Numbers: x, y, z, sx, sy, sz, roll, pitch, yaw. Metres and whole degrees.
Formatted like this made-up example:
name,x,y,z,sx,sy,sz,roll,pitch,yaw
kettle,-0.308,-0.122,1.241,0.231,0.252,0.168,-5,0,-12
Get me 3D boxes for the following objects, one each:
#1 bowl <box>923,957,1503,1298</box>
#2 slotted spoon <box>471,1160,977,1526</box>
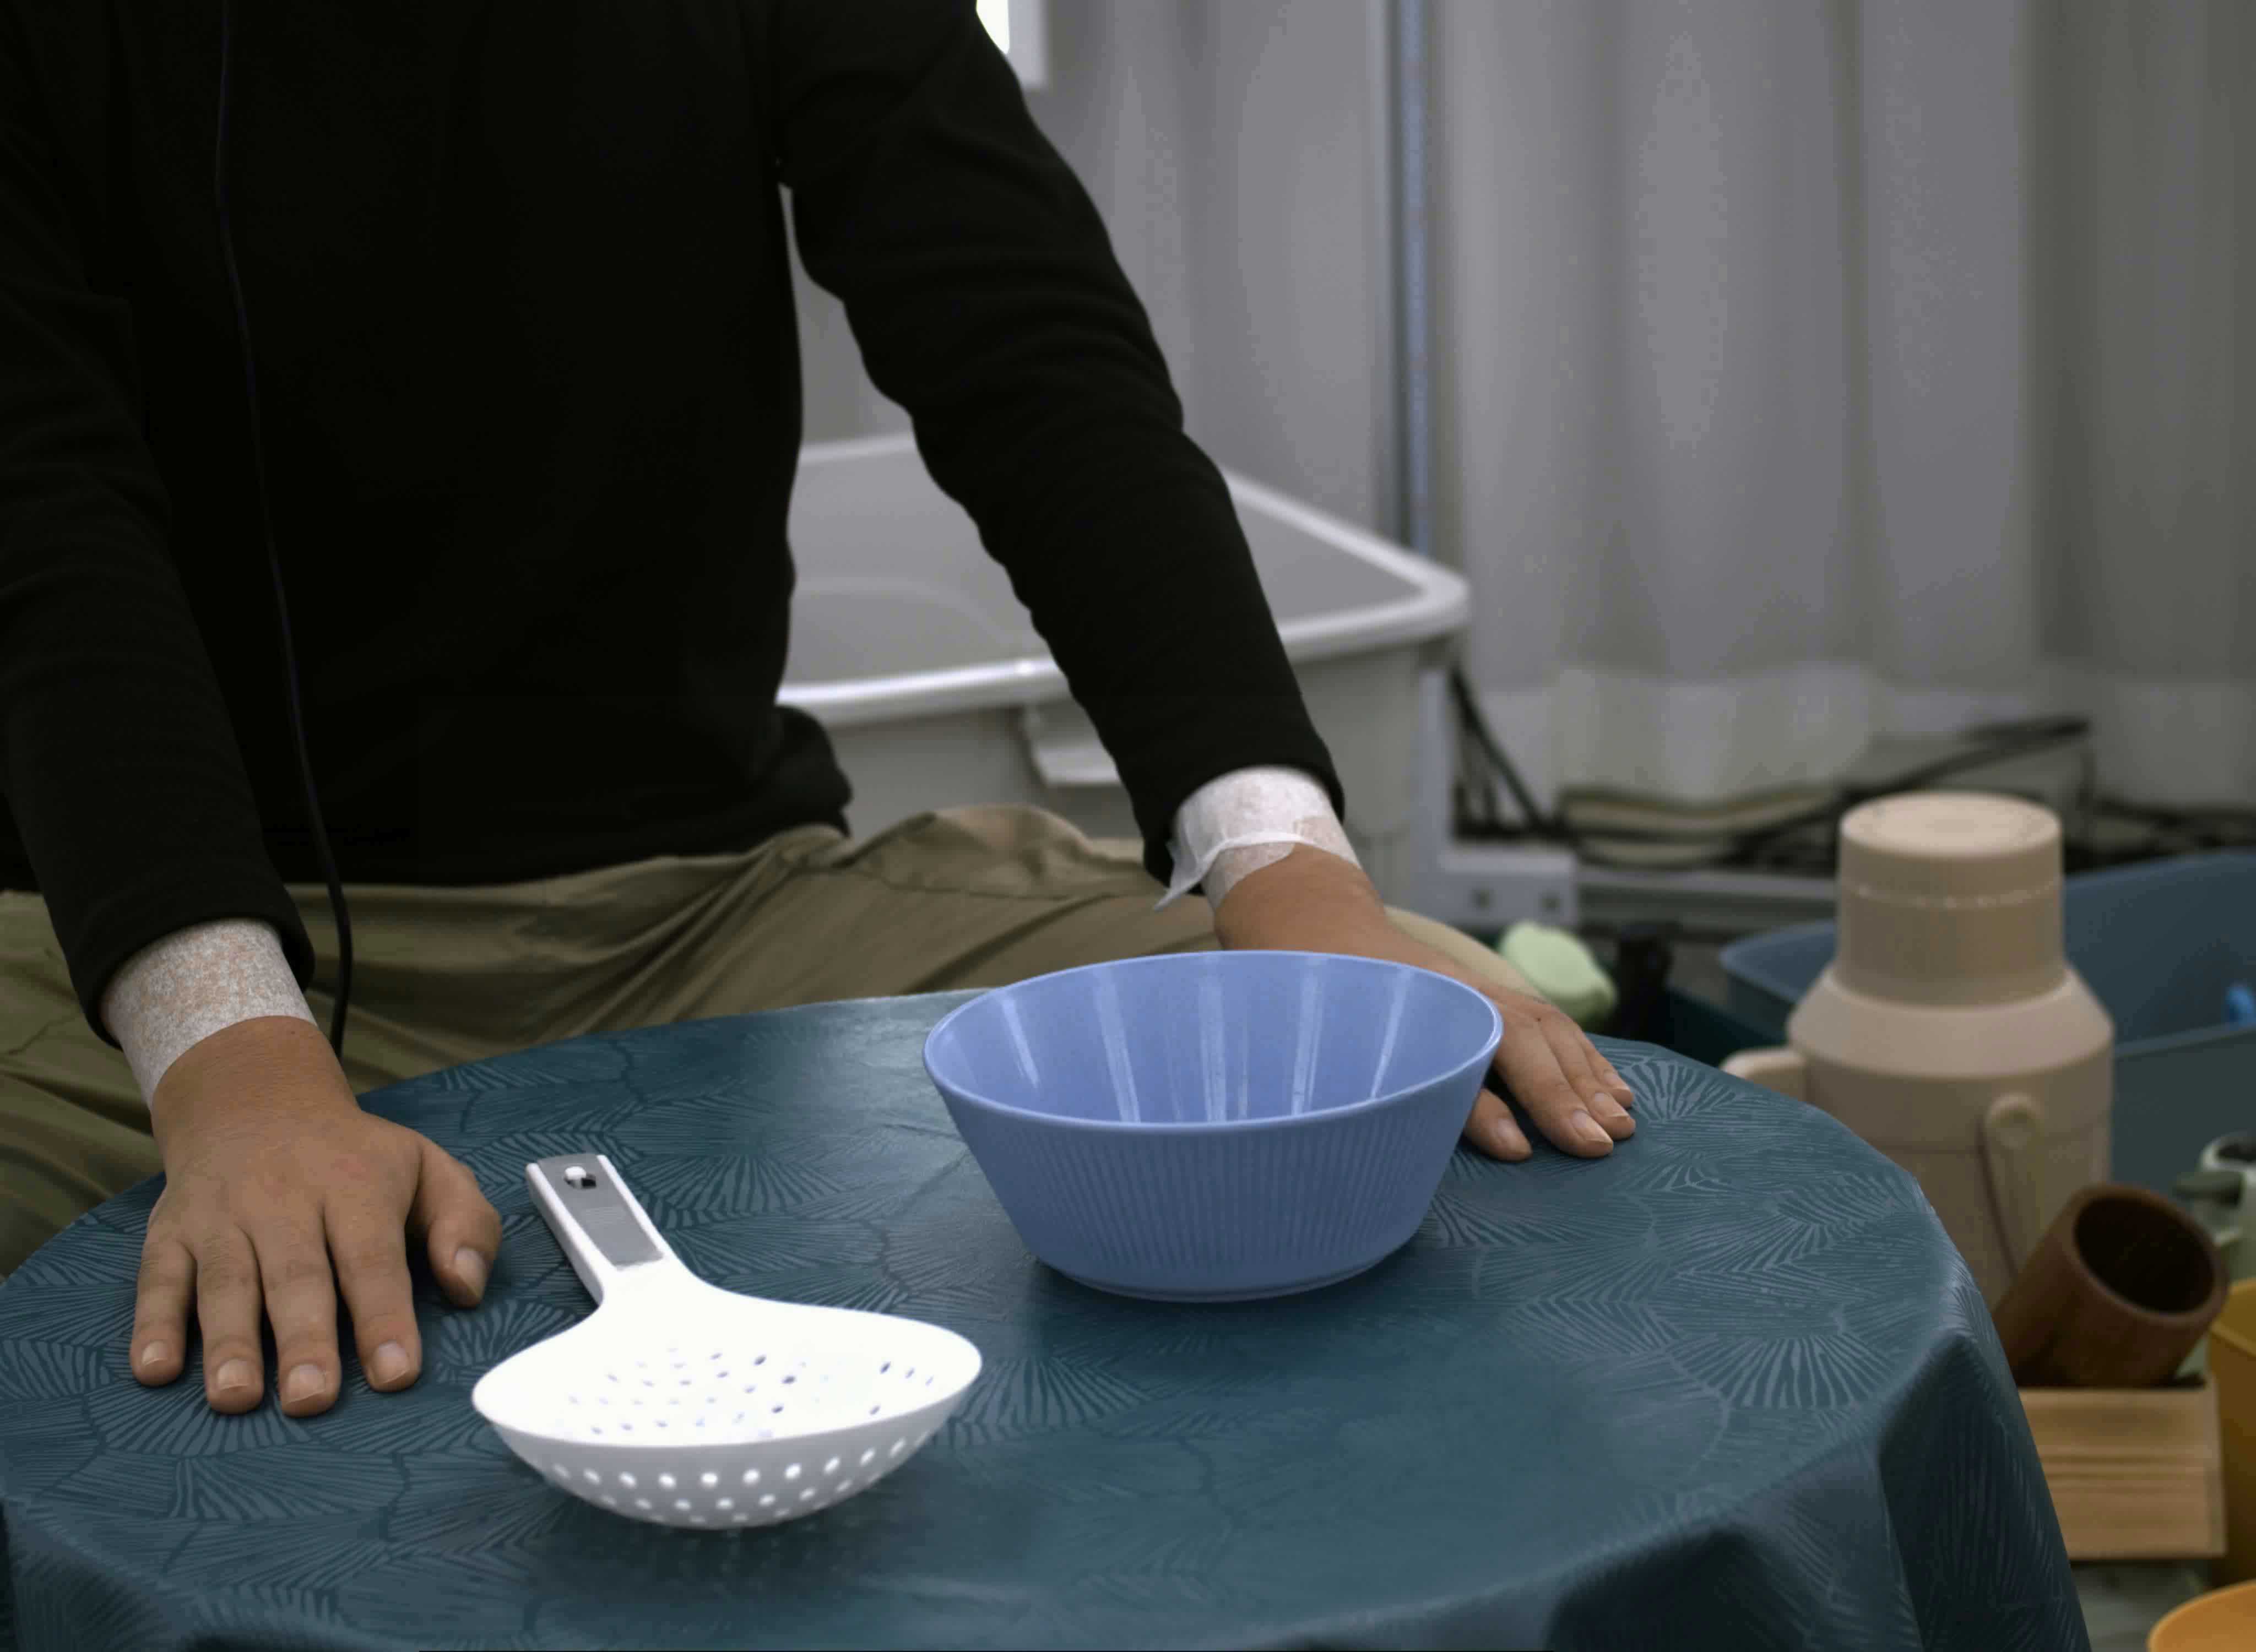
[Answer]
name,x,y,z,sx,sy,sz,roll,pitch,yaw
bowl,0.027,0.093,1.655,0.175,0.070,0.177,-3,14,0
slotted spoon,-0.135,0.138,1.564,0.135,0.045,0.352,-7,14,-14
